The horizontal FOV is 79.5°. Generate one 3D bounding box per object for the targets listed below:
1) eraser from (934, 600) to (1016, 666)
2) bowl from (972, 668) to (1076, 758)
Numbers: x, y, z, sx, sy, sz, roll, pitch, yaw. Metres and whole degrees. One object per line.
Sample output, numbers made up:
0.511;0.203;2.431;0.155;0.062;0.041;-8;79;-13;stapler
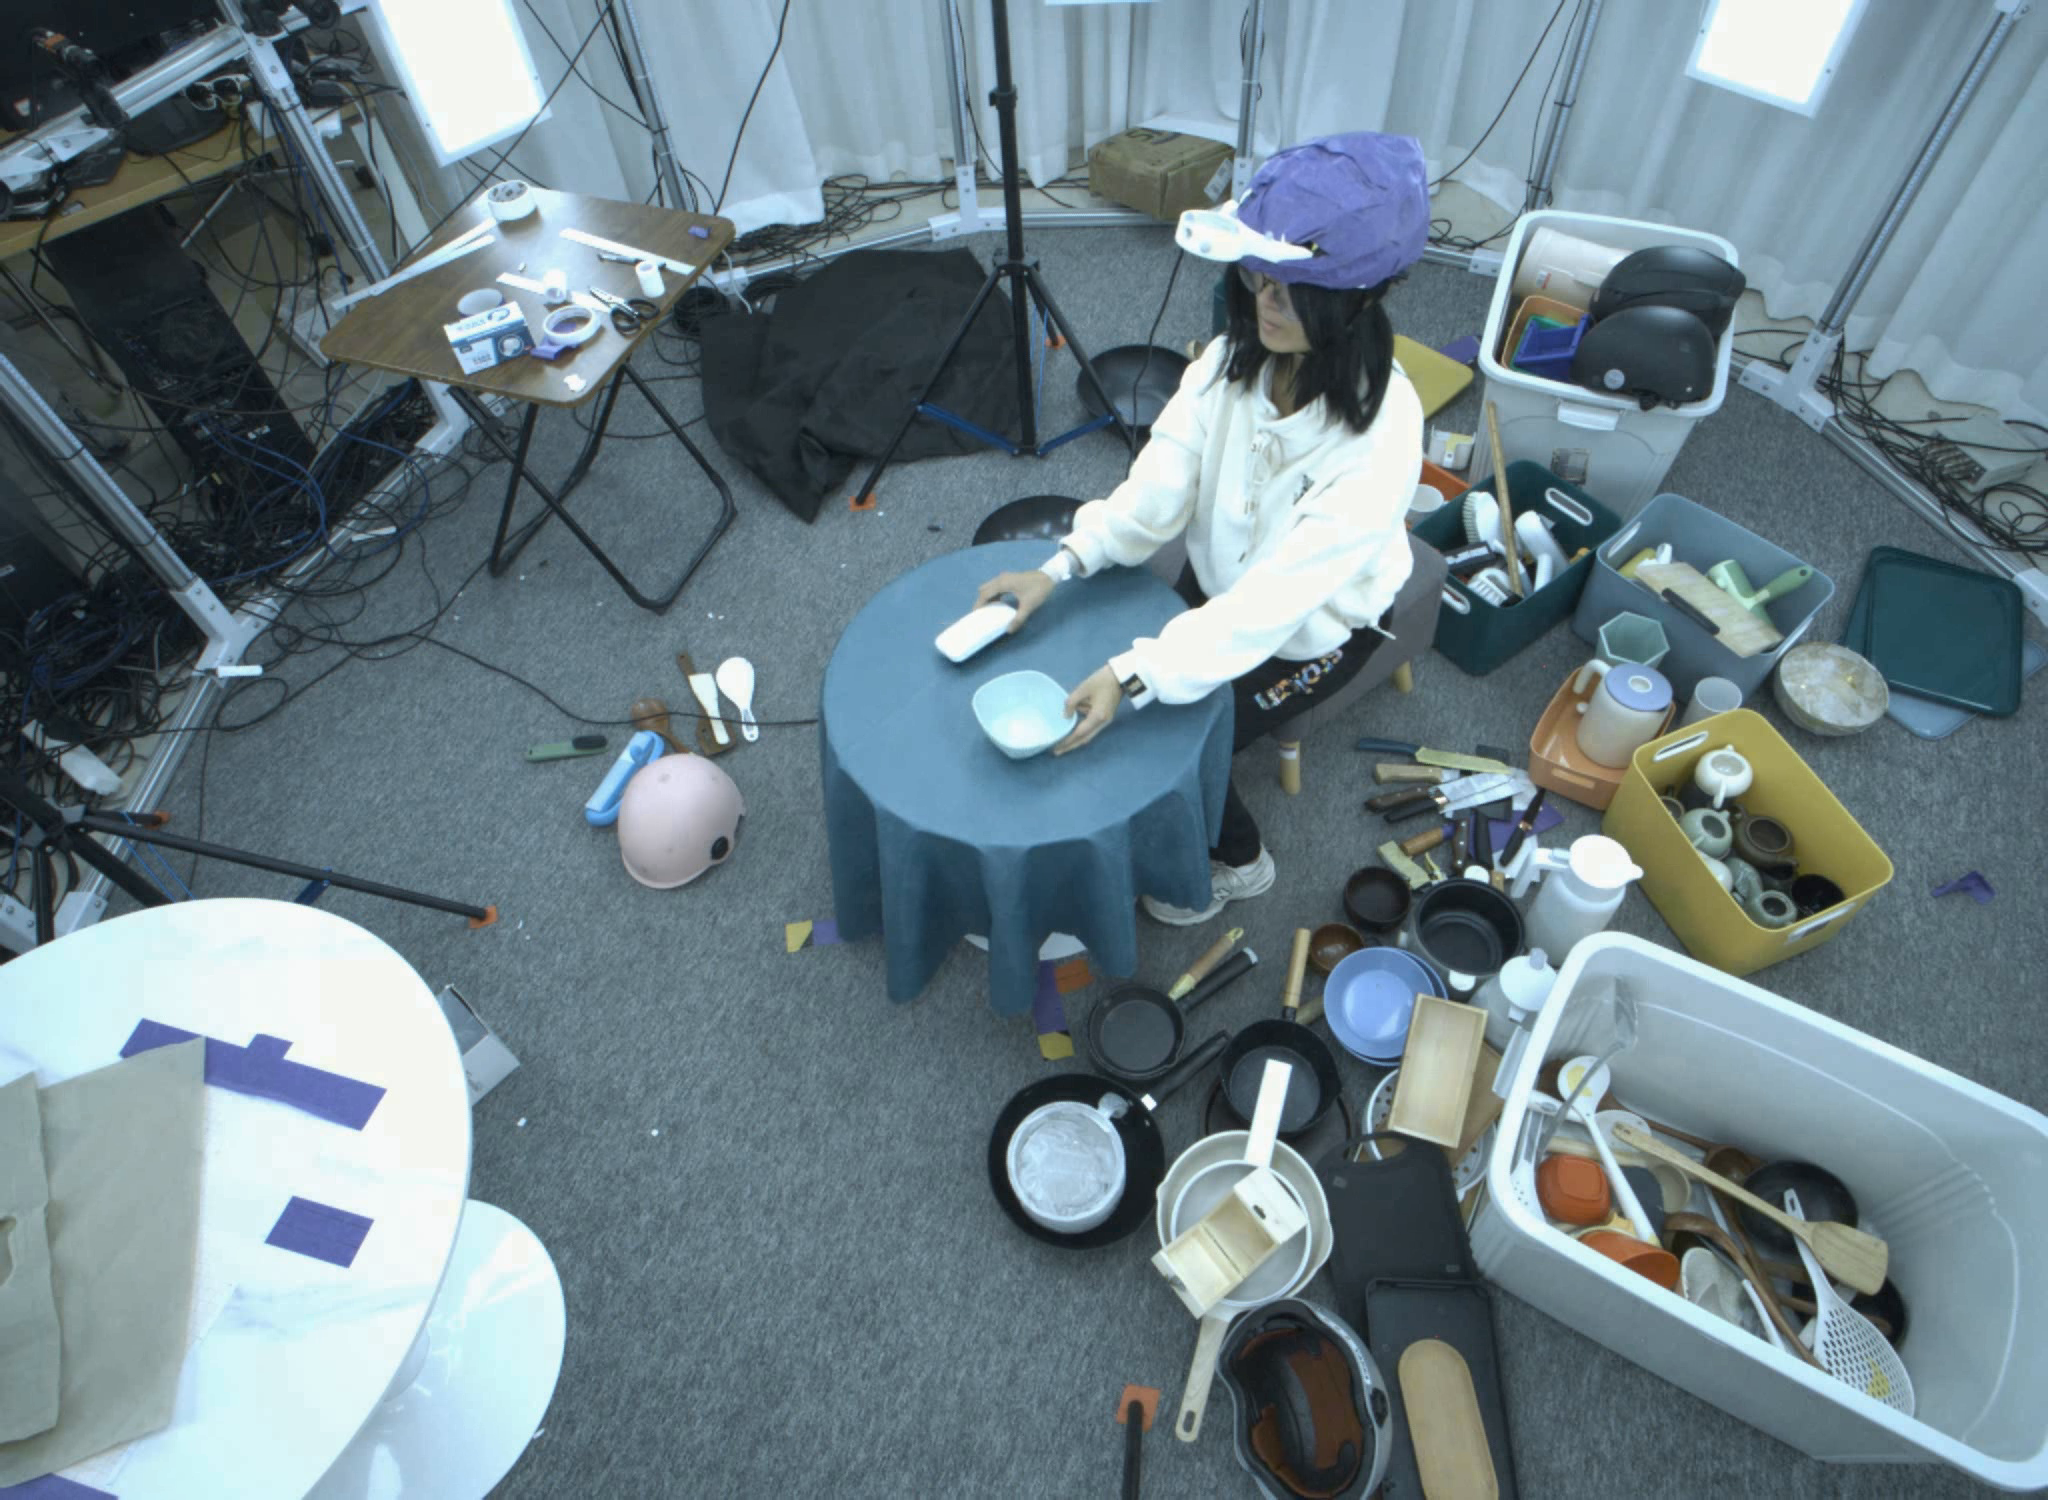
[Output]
-0.074;-0.182;1.890;0.132;0.035;0.062;-36;49;-18;eraser
-0.001;-0.043;1.775;0.152;0.059;0.150;3;56;-3;bowl
